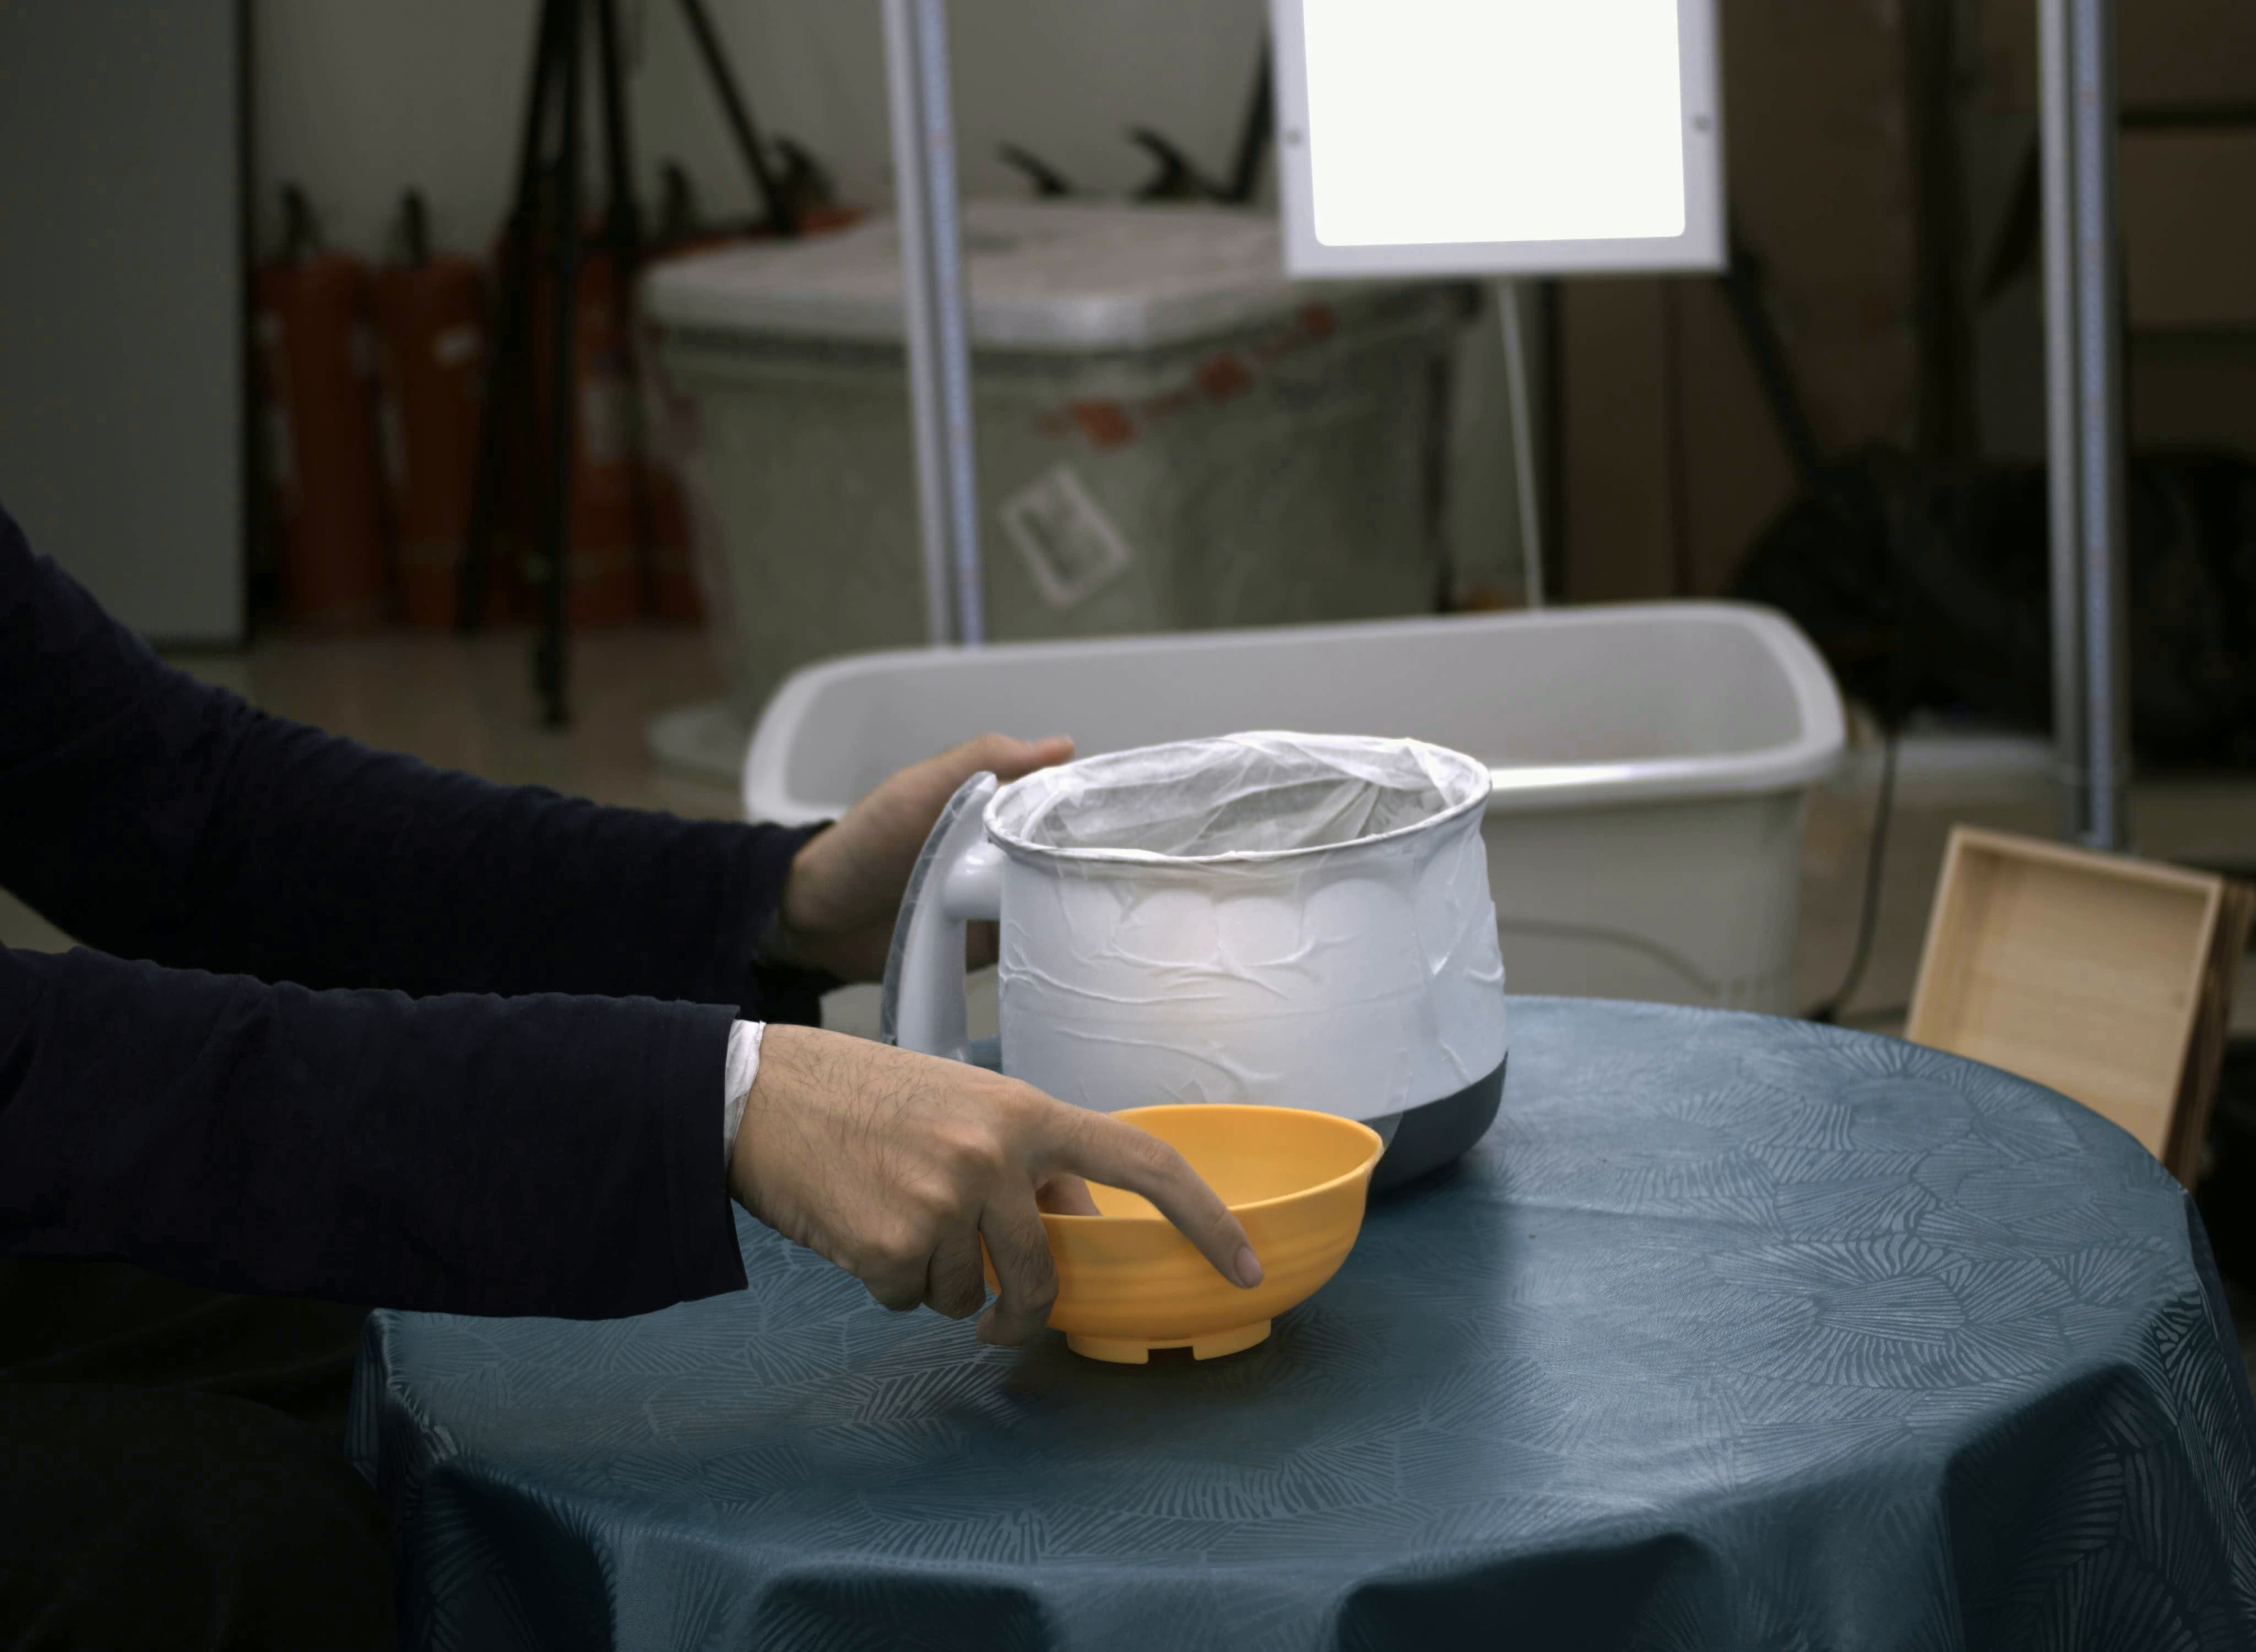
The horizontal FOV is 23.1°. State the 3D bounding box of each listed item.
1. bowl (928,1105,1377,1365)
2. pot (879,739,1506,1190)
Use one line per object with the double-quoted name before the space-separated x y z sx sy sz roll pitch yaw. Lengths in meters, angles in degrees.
"bowl" 0.010 0.133 1.742 0.145 0.060 0.145 -4 11 -1
"pot" 0.018 0.048 1.924 0.237 0.137 0.175 3 13 26
